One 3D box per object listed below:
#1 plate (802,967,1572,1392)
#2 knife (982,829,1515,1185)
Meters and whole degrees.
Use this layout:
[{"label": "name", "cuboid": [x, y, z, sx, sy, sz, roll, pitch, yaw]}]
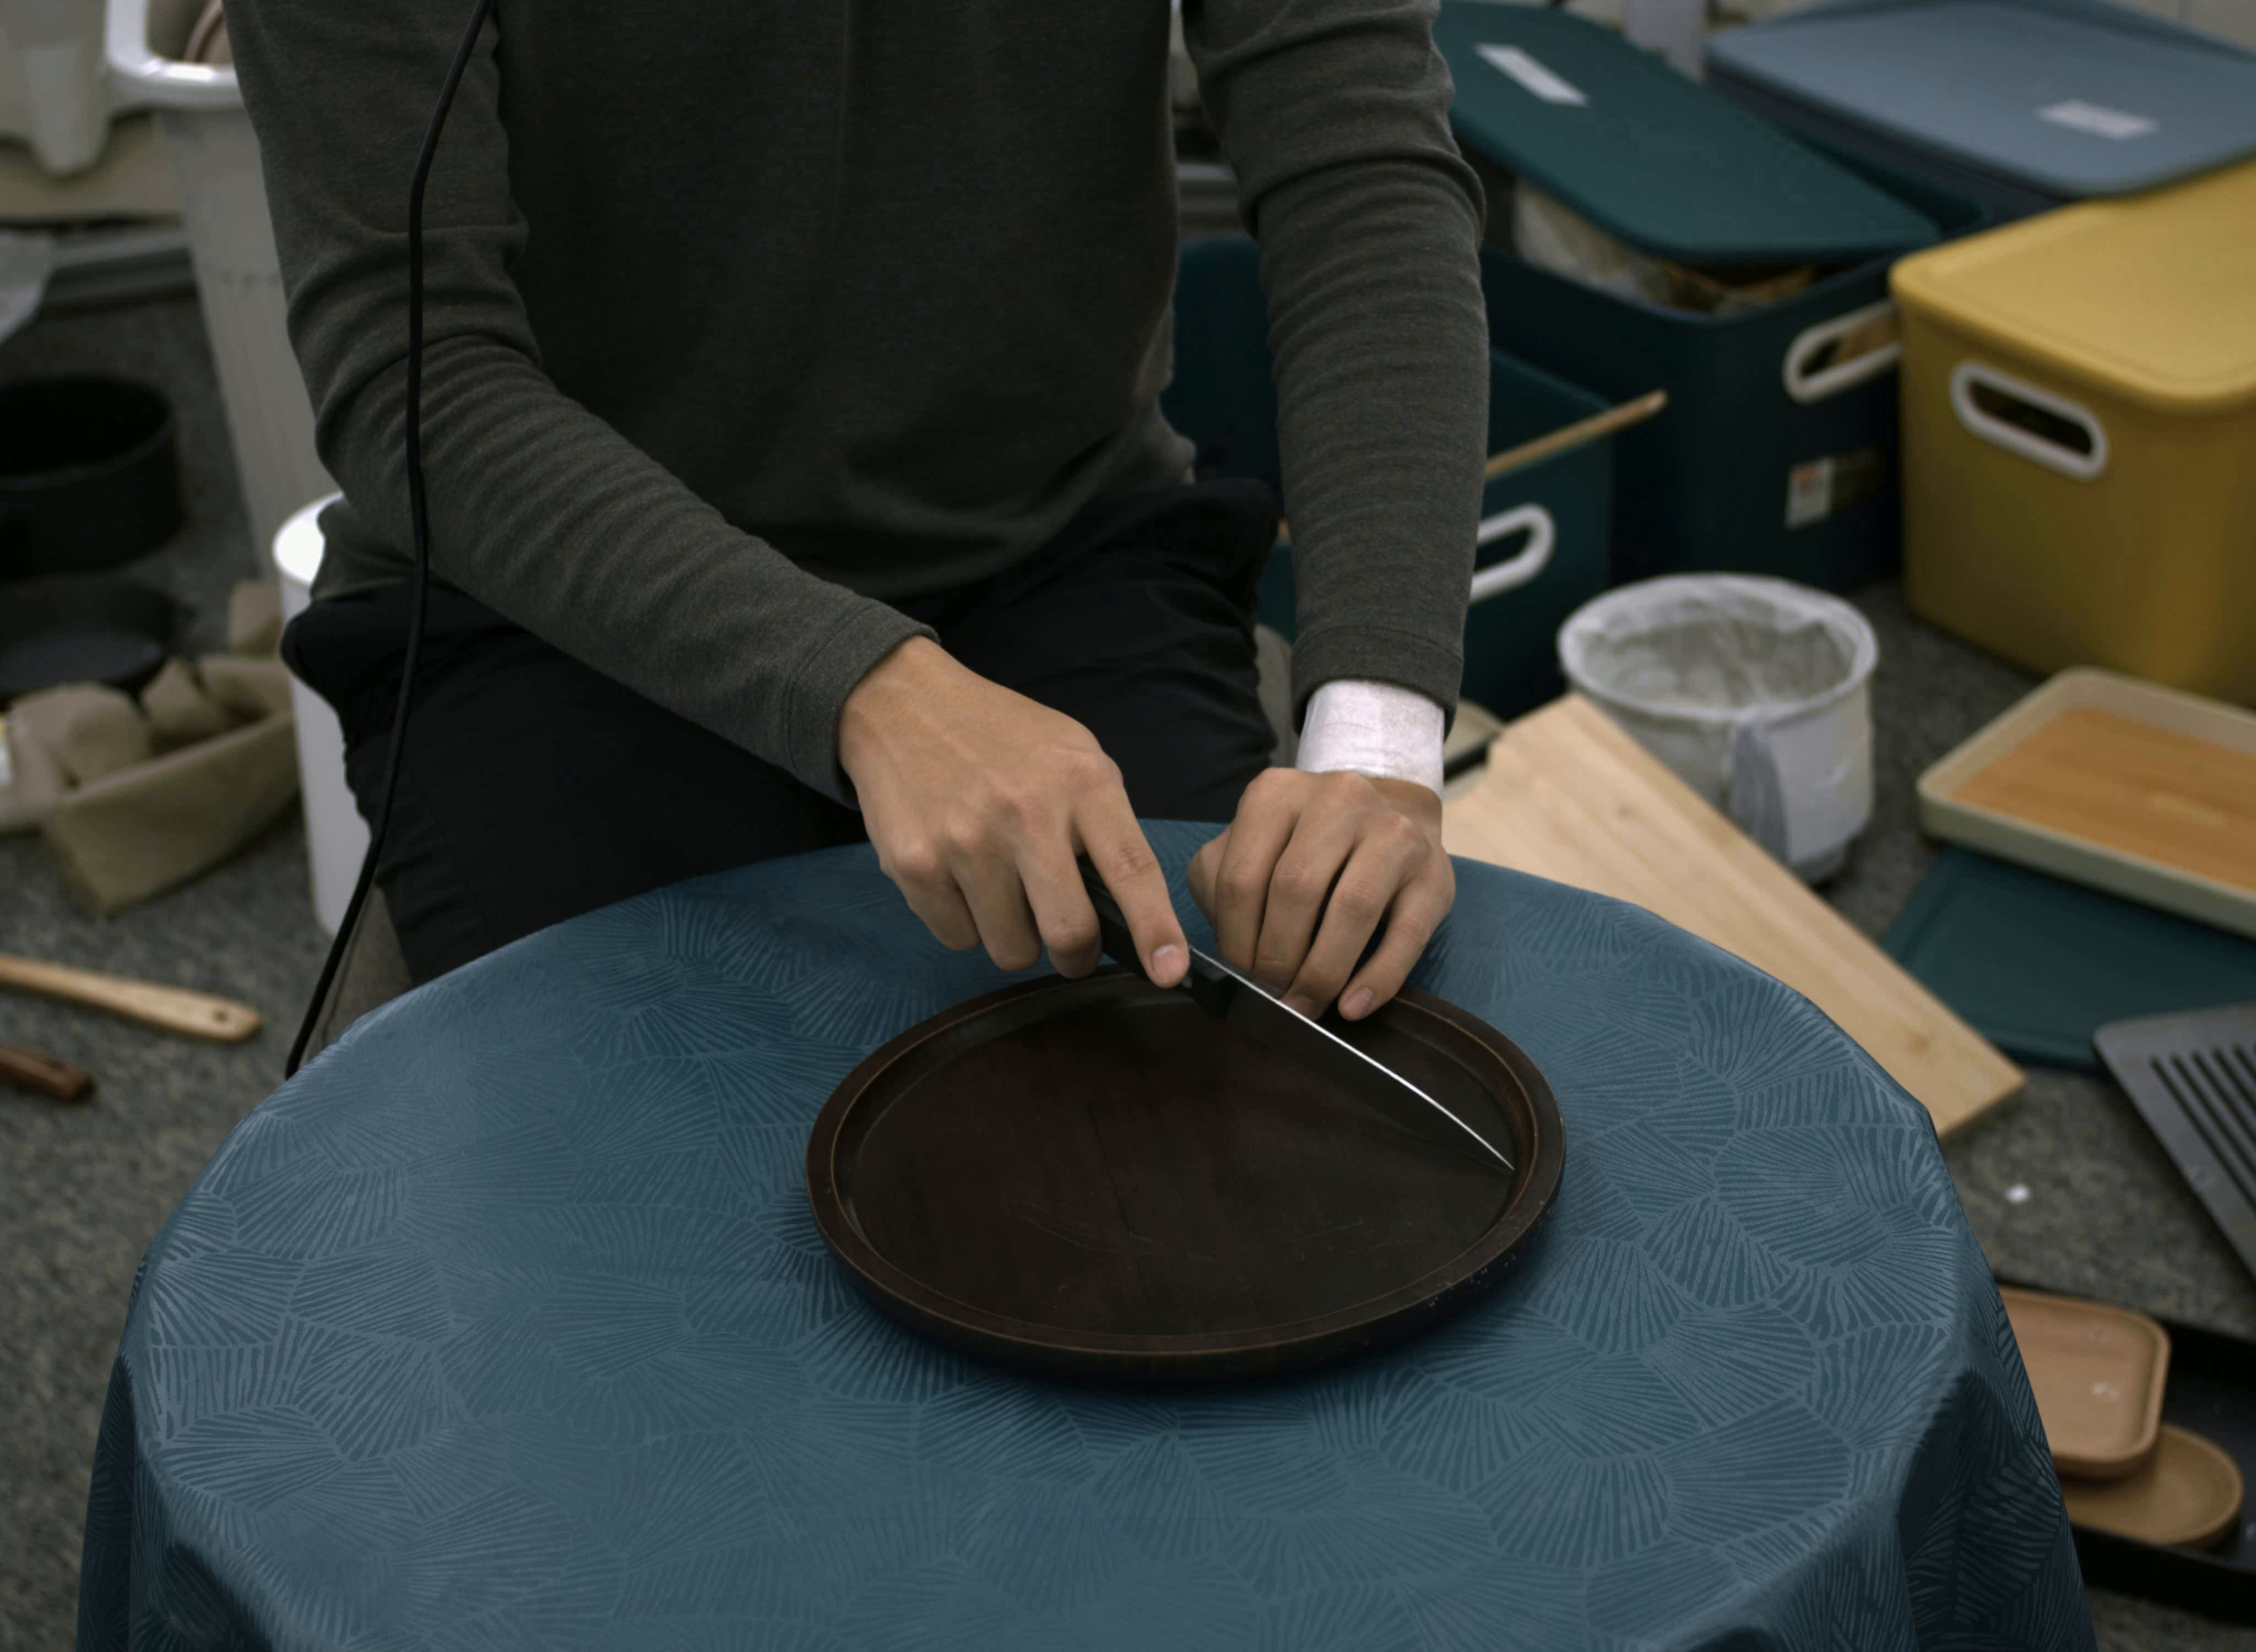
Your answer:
[{"label": "plate", "cuboid": [0.020, 0.114, 1.851, 0.253, 0.029, 0.259, -1, 28, 1]}, {"label": "knife", "cuboid": [0.040, 0.060, 1.894, 0.238, 0.024, 0.016, 32, 37, 30]}]
